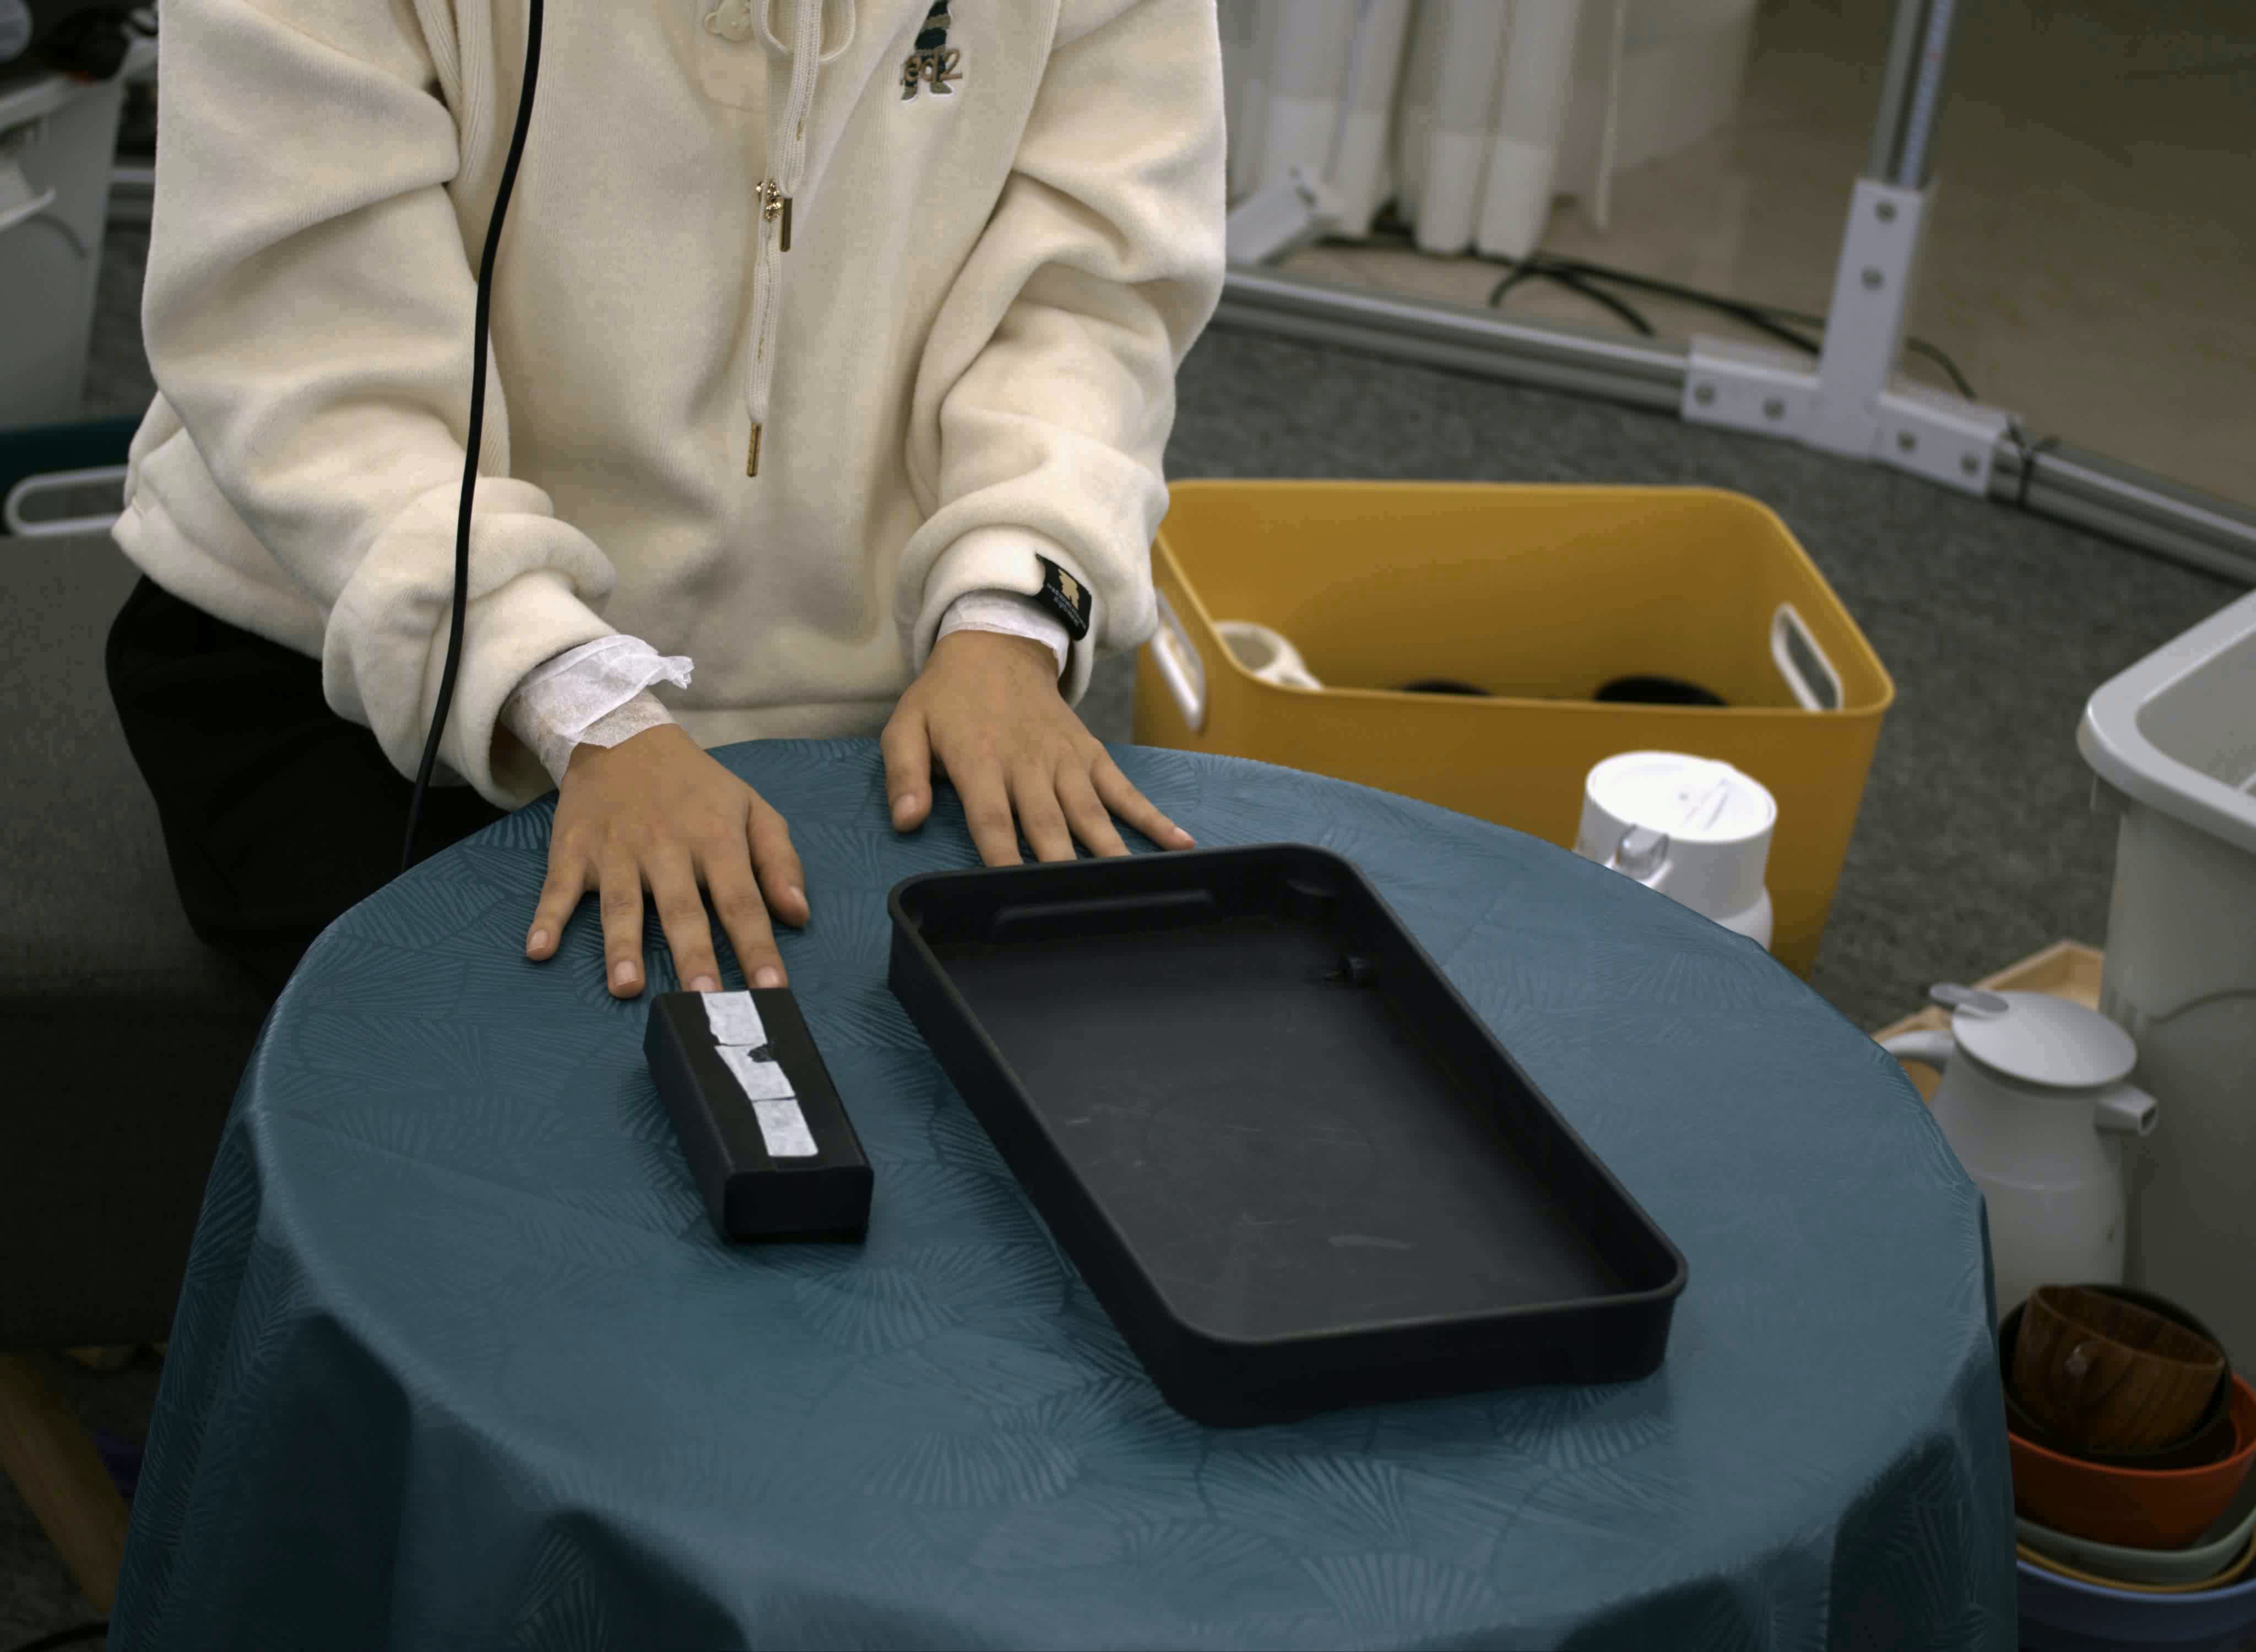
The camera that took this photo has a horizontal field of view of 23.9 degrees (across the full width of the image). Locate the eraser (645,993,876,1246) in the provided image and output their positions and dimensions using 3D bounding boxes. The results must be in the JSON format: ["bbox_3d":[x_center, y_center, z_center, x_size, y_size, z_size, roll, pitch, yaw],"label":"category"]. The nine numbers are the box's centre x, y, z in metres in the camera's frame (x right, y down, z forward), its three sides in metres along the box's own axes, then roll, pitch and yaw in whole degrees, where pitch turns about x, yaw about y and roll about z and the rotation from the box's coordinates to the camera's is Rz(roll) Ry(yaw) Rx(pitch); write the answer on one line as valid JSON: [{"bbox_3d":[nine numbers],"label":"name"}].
[{"bbox_3d":[-0.125,0.098,1.793,0.053,0.030,0.126,1,27,-18],"label":"eraser"}]

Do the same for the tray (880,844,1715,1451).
[{"bbox_3d":[0.050,0.102,1.813,0.183,0.037,0.321,-6,30,-23],"label":"tray"}]
